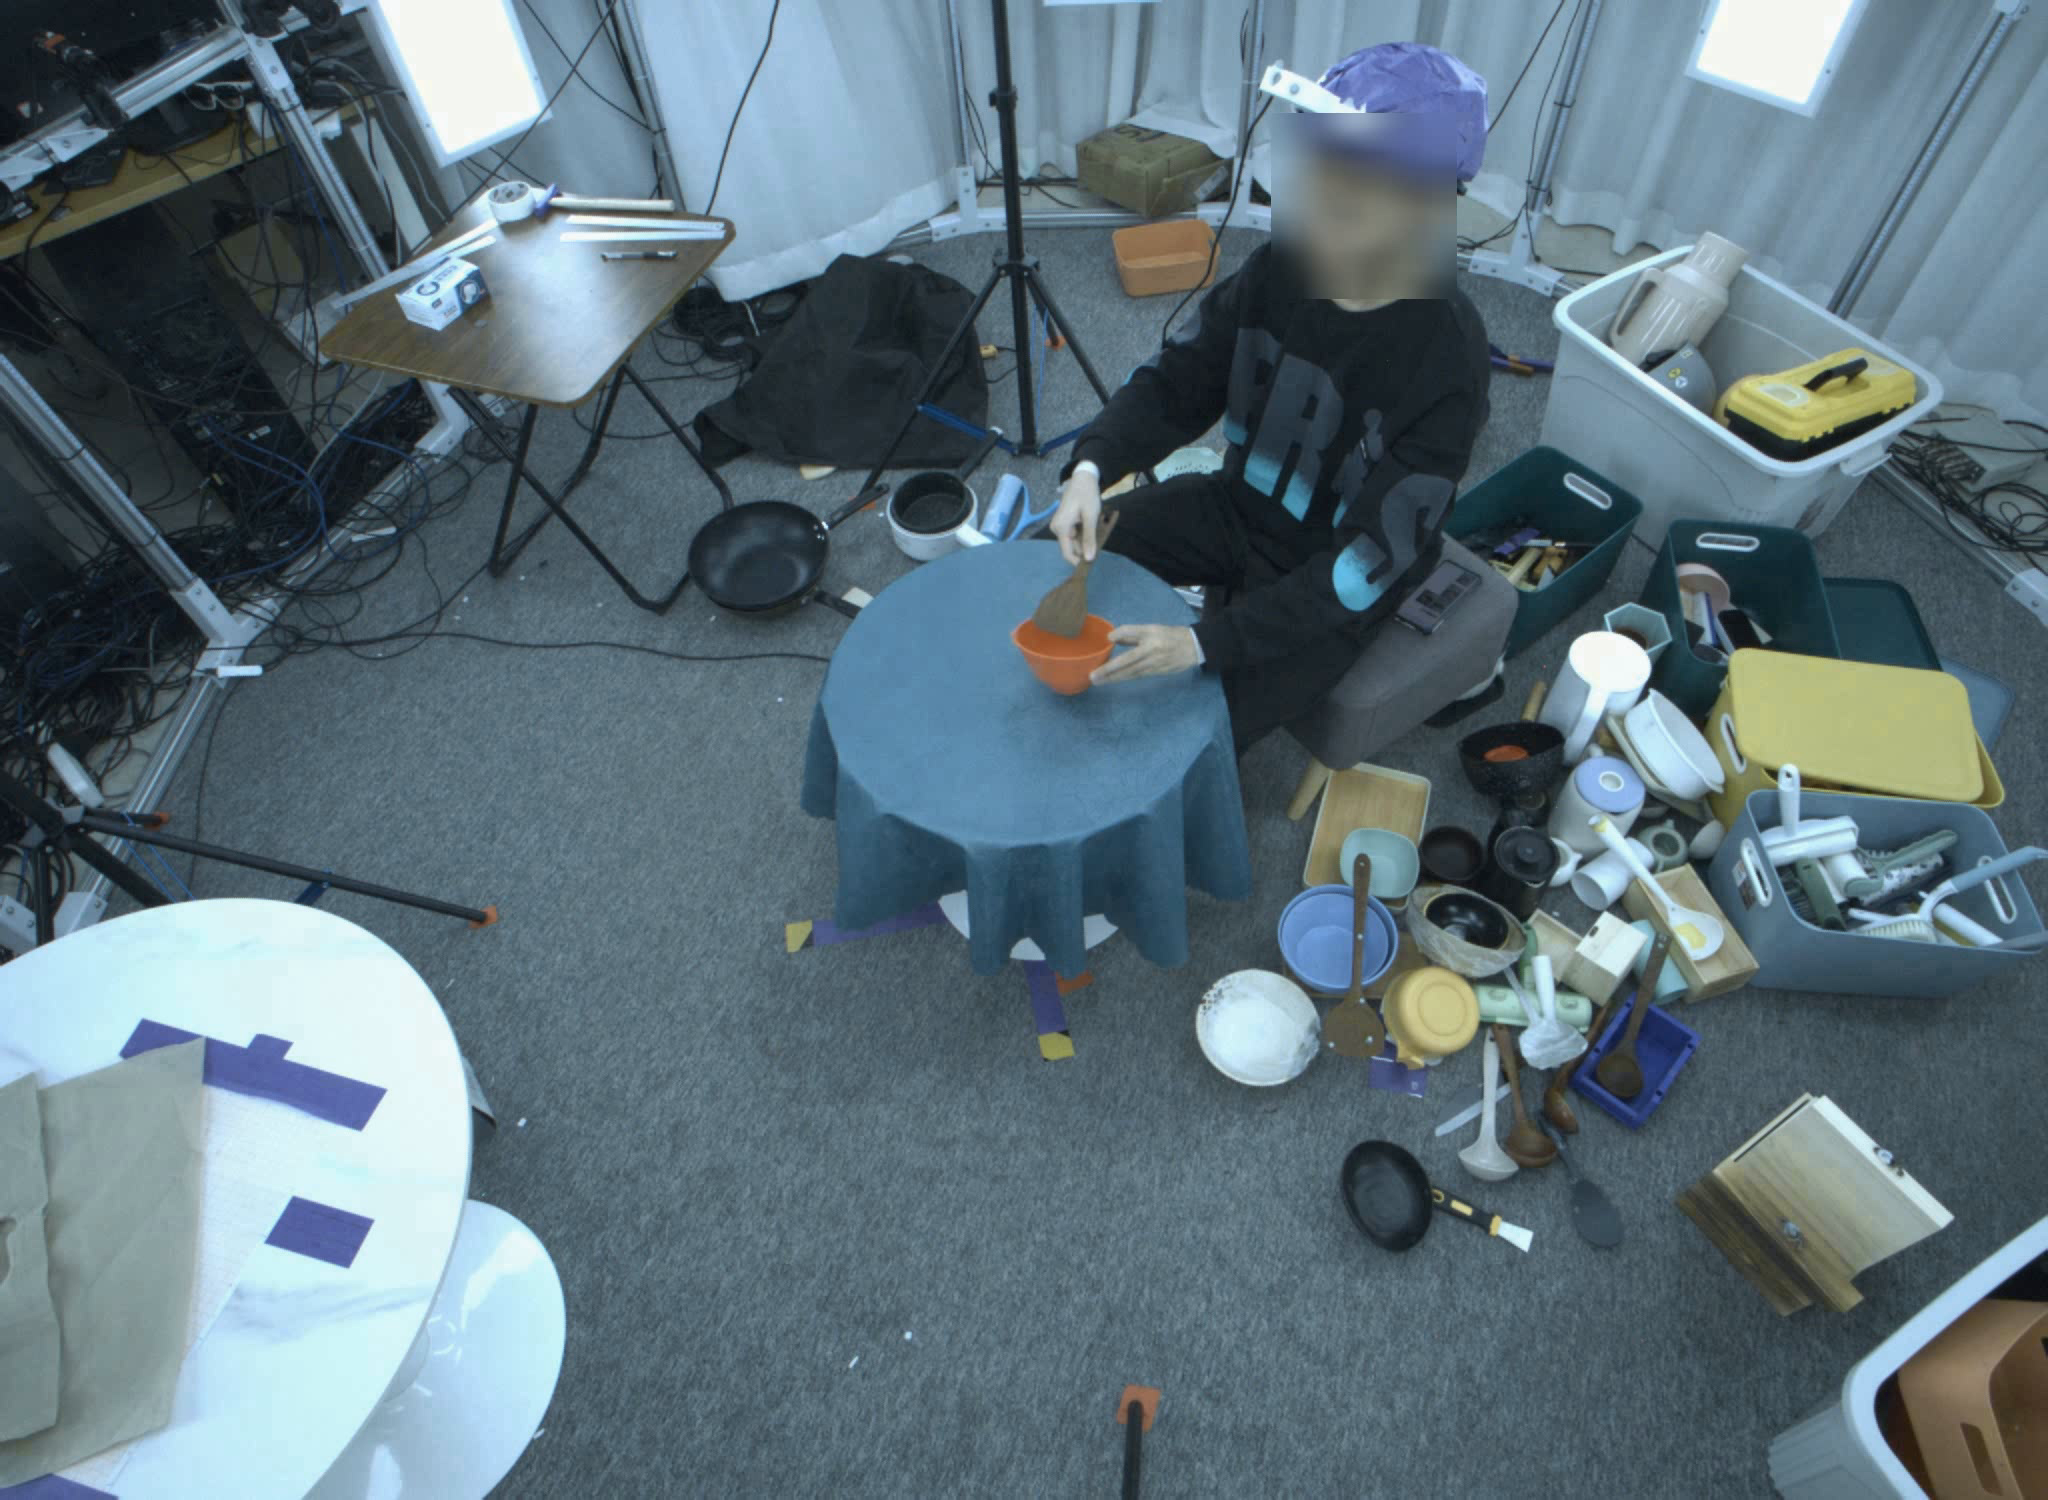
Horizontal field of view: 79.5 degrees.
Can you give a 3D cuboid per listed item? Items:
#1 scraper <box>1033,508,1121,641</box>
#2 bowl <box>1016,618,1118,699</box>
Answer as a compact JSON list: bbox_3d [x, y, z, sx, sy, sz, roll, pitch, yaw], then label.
[{"bbox_3d":[0.087,-0.258,1.778,0.075,0.011,0.211,25,81,6],"label":"scraper"},{"bbox_3d":[0.065,-0.128,1.796,0.148,0.106,0.146,-1,42,3],"label":"bowl"}]
